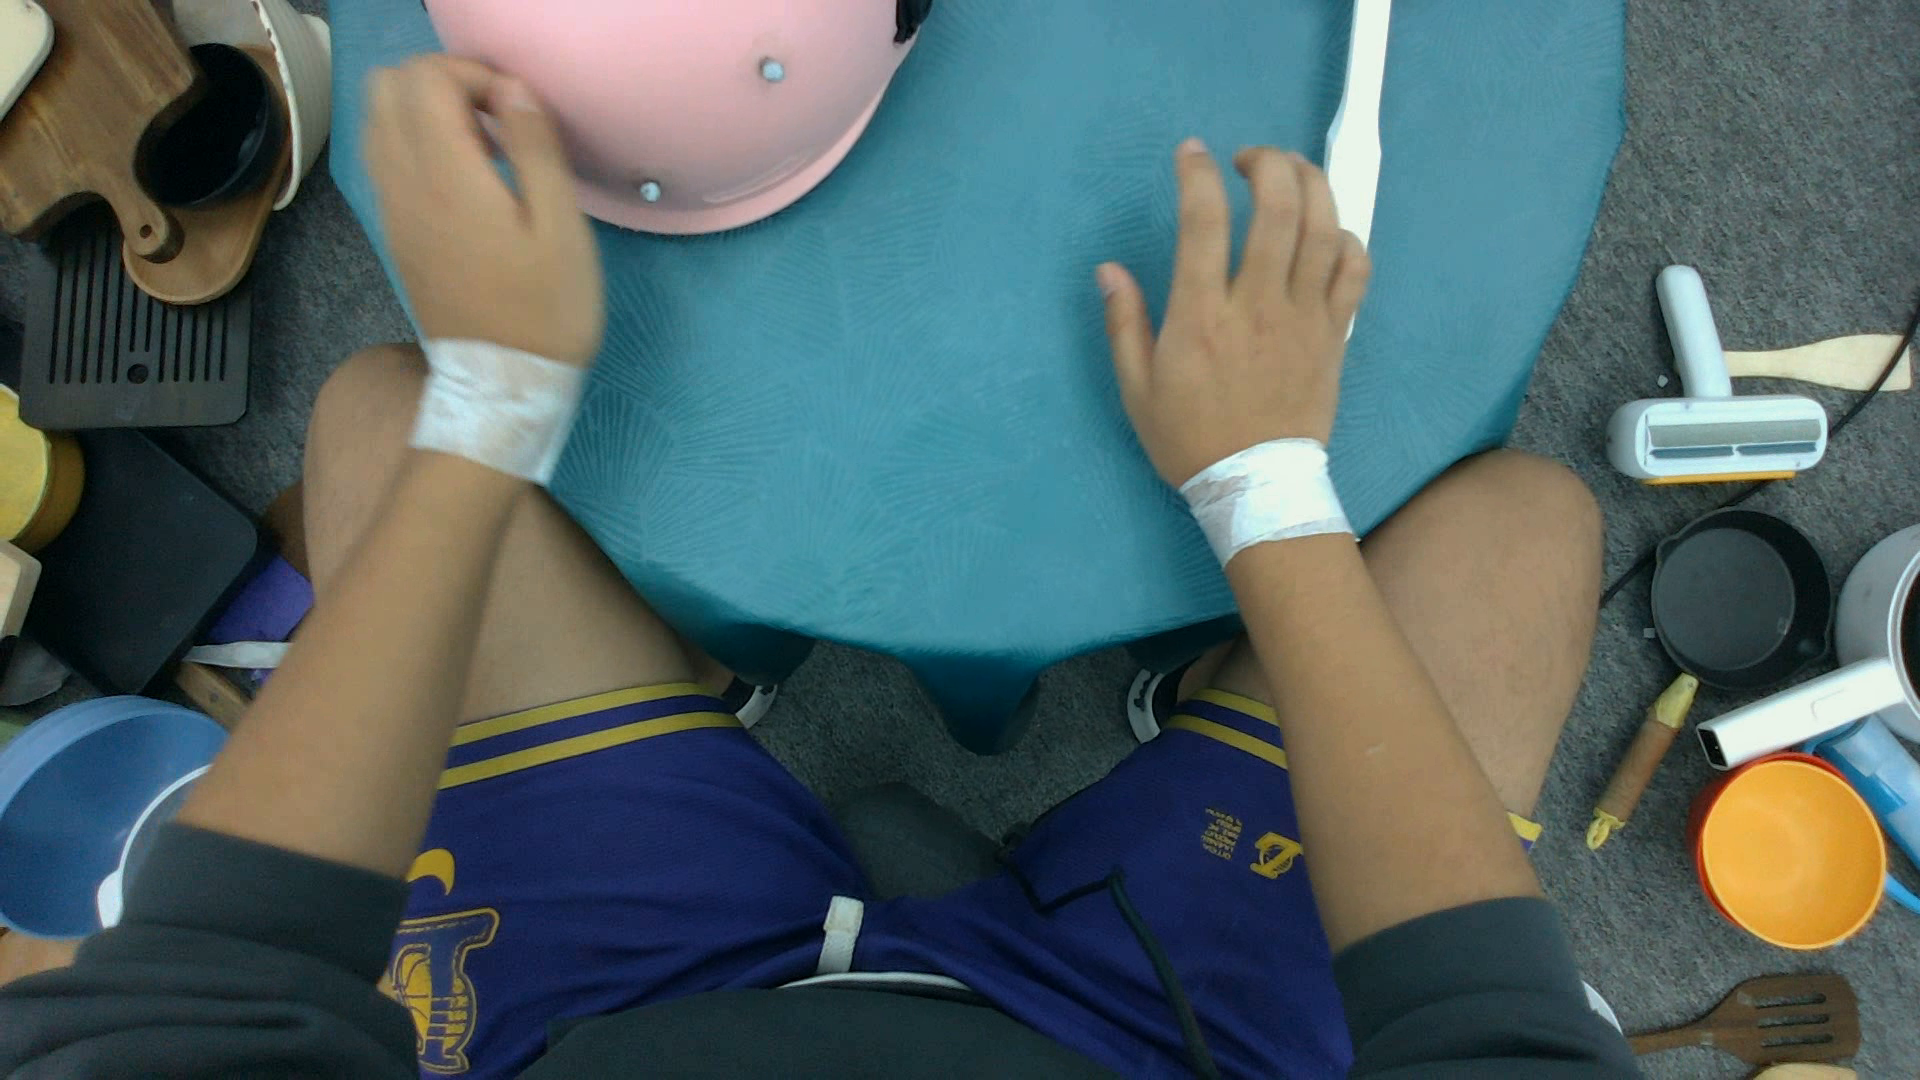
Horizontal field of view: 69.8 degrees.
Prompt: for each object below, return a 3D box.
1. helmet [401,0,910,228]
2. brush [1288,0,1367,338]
[{"bbox_3d":[-0.133,-0.271,0.557,0.234,0.159,0.266,2,93,-3],"label":"helmet"},{"bbox_3d":[0.173,-0.216,0.632,0.034,0.050,0.243,4,102,-1],"label":"brush"}]
